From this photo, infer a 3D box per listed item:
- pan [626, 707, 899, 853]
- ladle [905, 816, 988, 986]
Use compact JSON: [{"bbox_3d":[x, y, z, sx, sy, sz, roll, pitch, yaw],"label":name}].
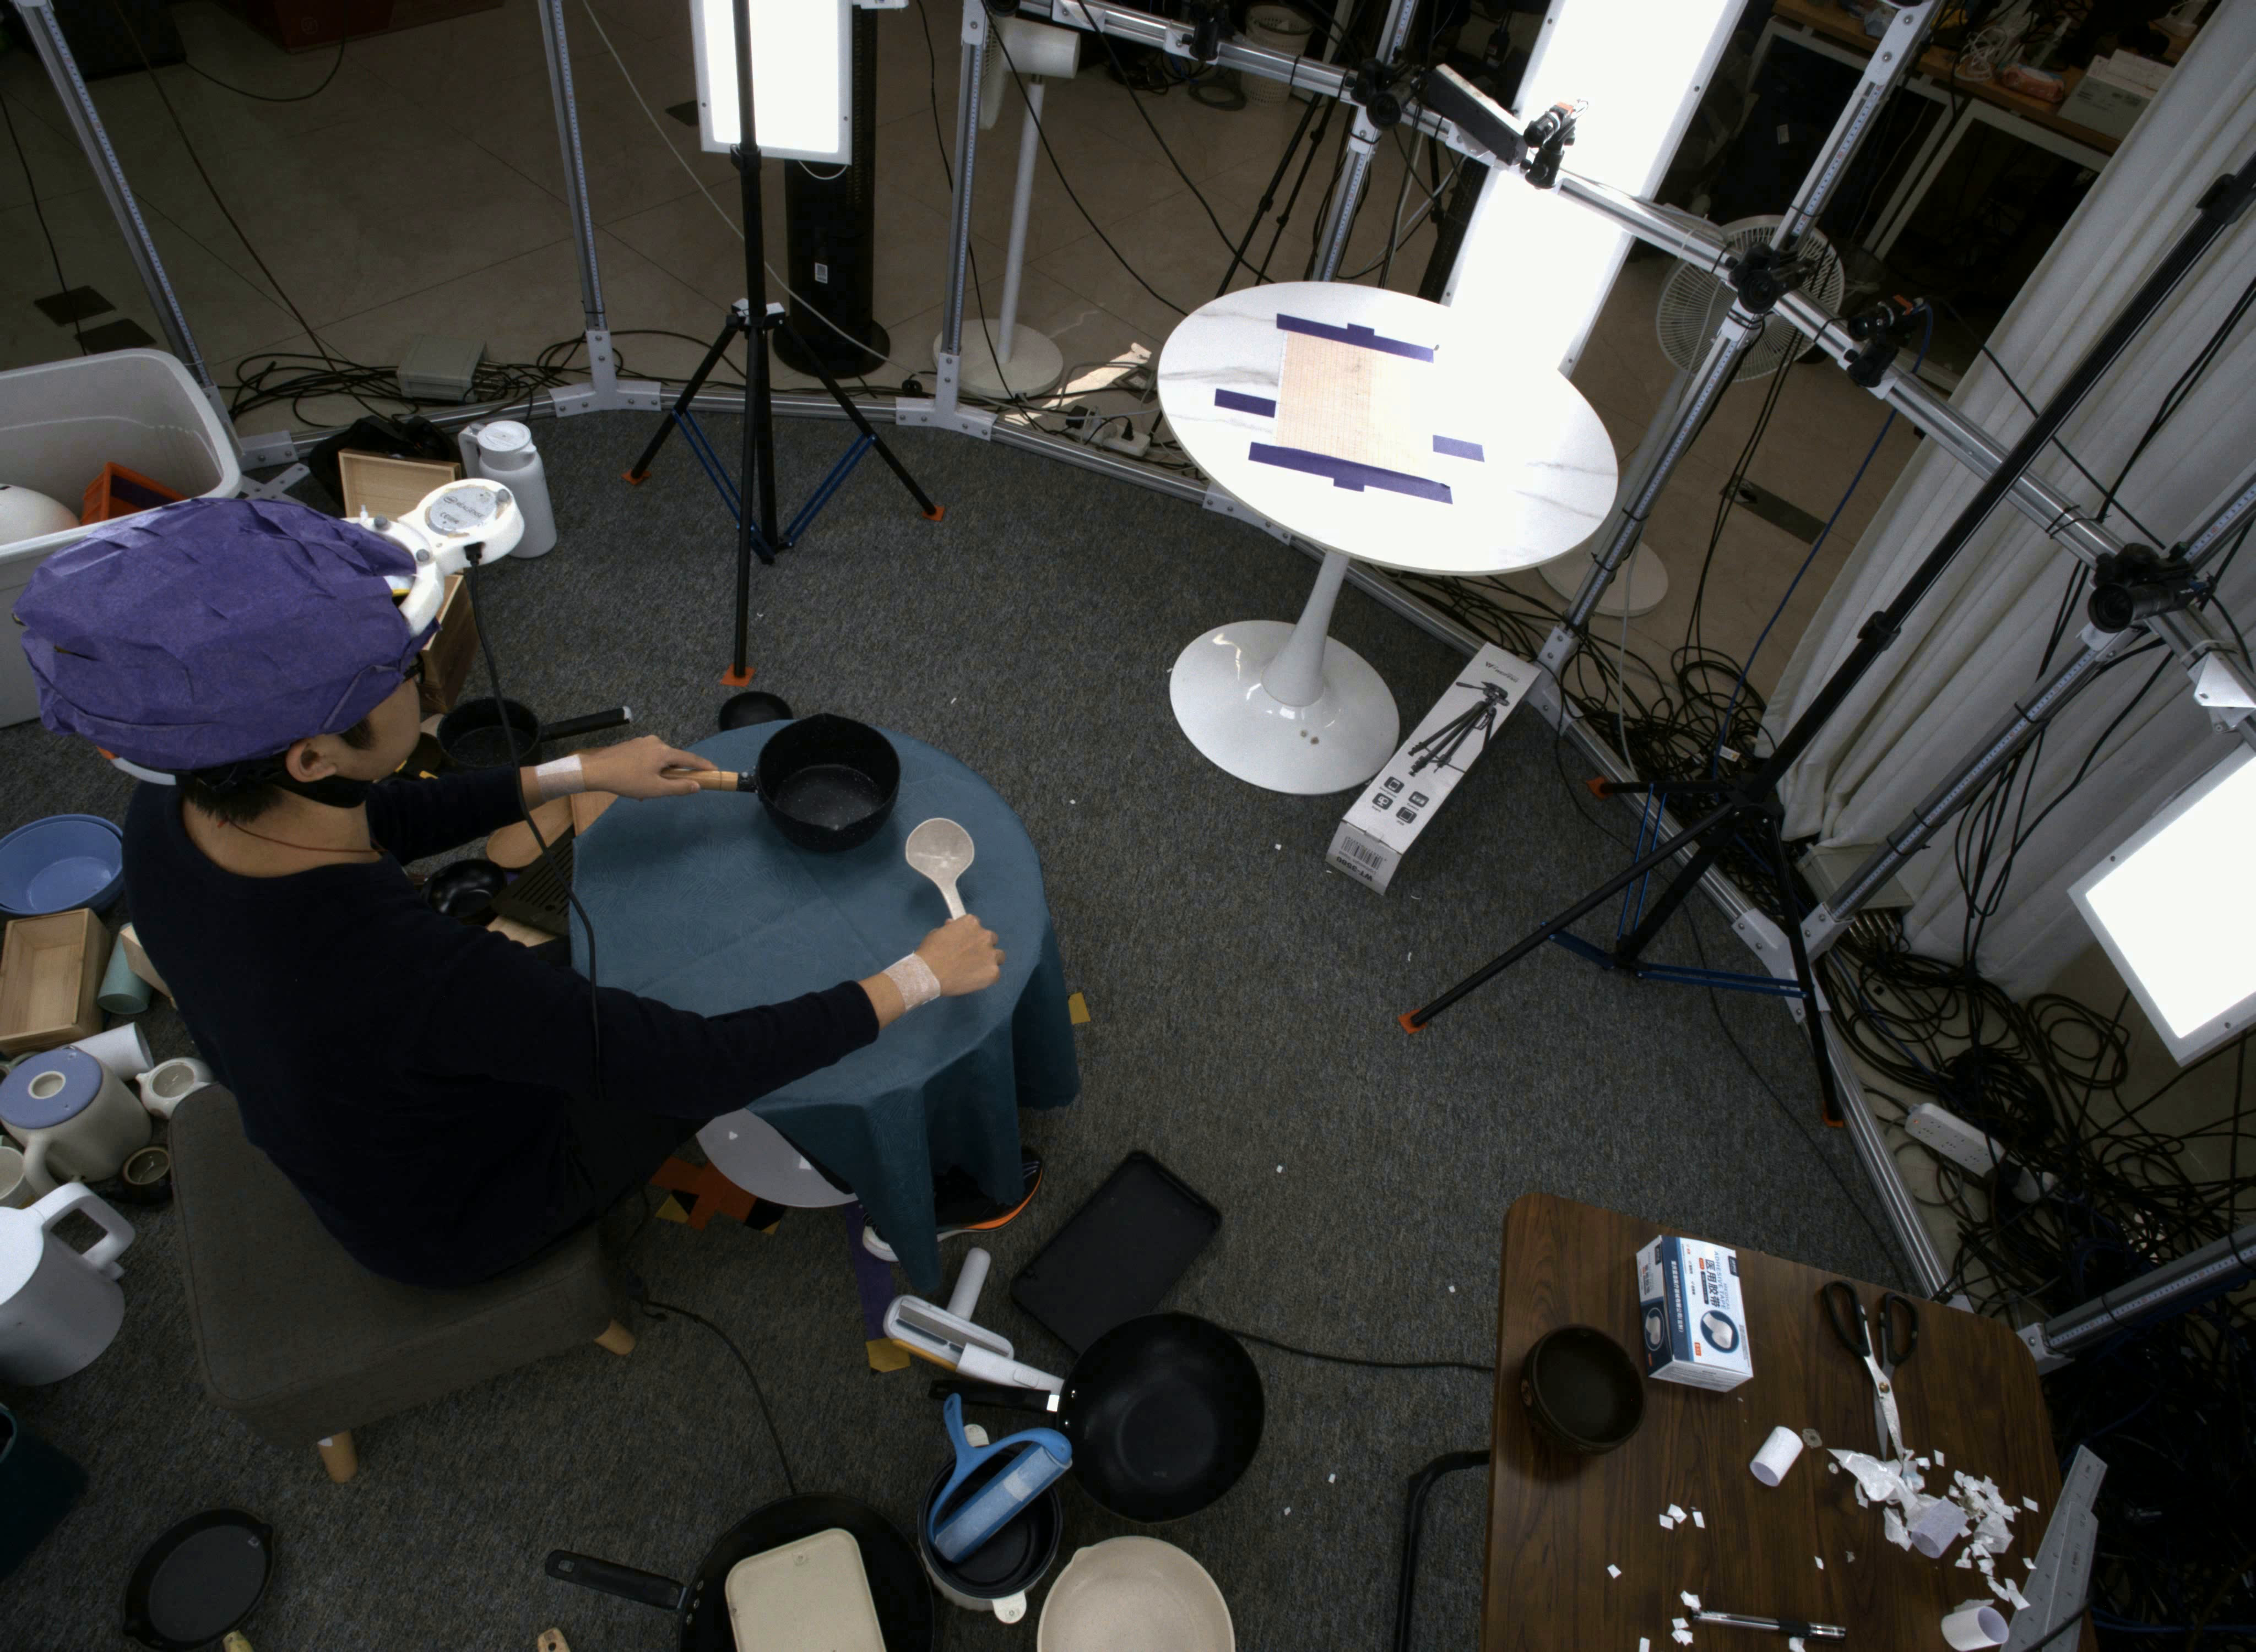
[{"bbox_3d":[-0.469,-0.051,1.670,0.344,0.110,0.203,-5,56,-20],"label":"pan"},{"bbox_3d":[-0.205,0.083,1.579,0.090,0.071,0.265,5,29,-27],"label":"ladle"}]
